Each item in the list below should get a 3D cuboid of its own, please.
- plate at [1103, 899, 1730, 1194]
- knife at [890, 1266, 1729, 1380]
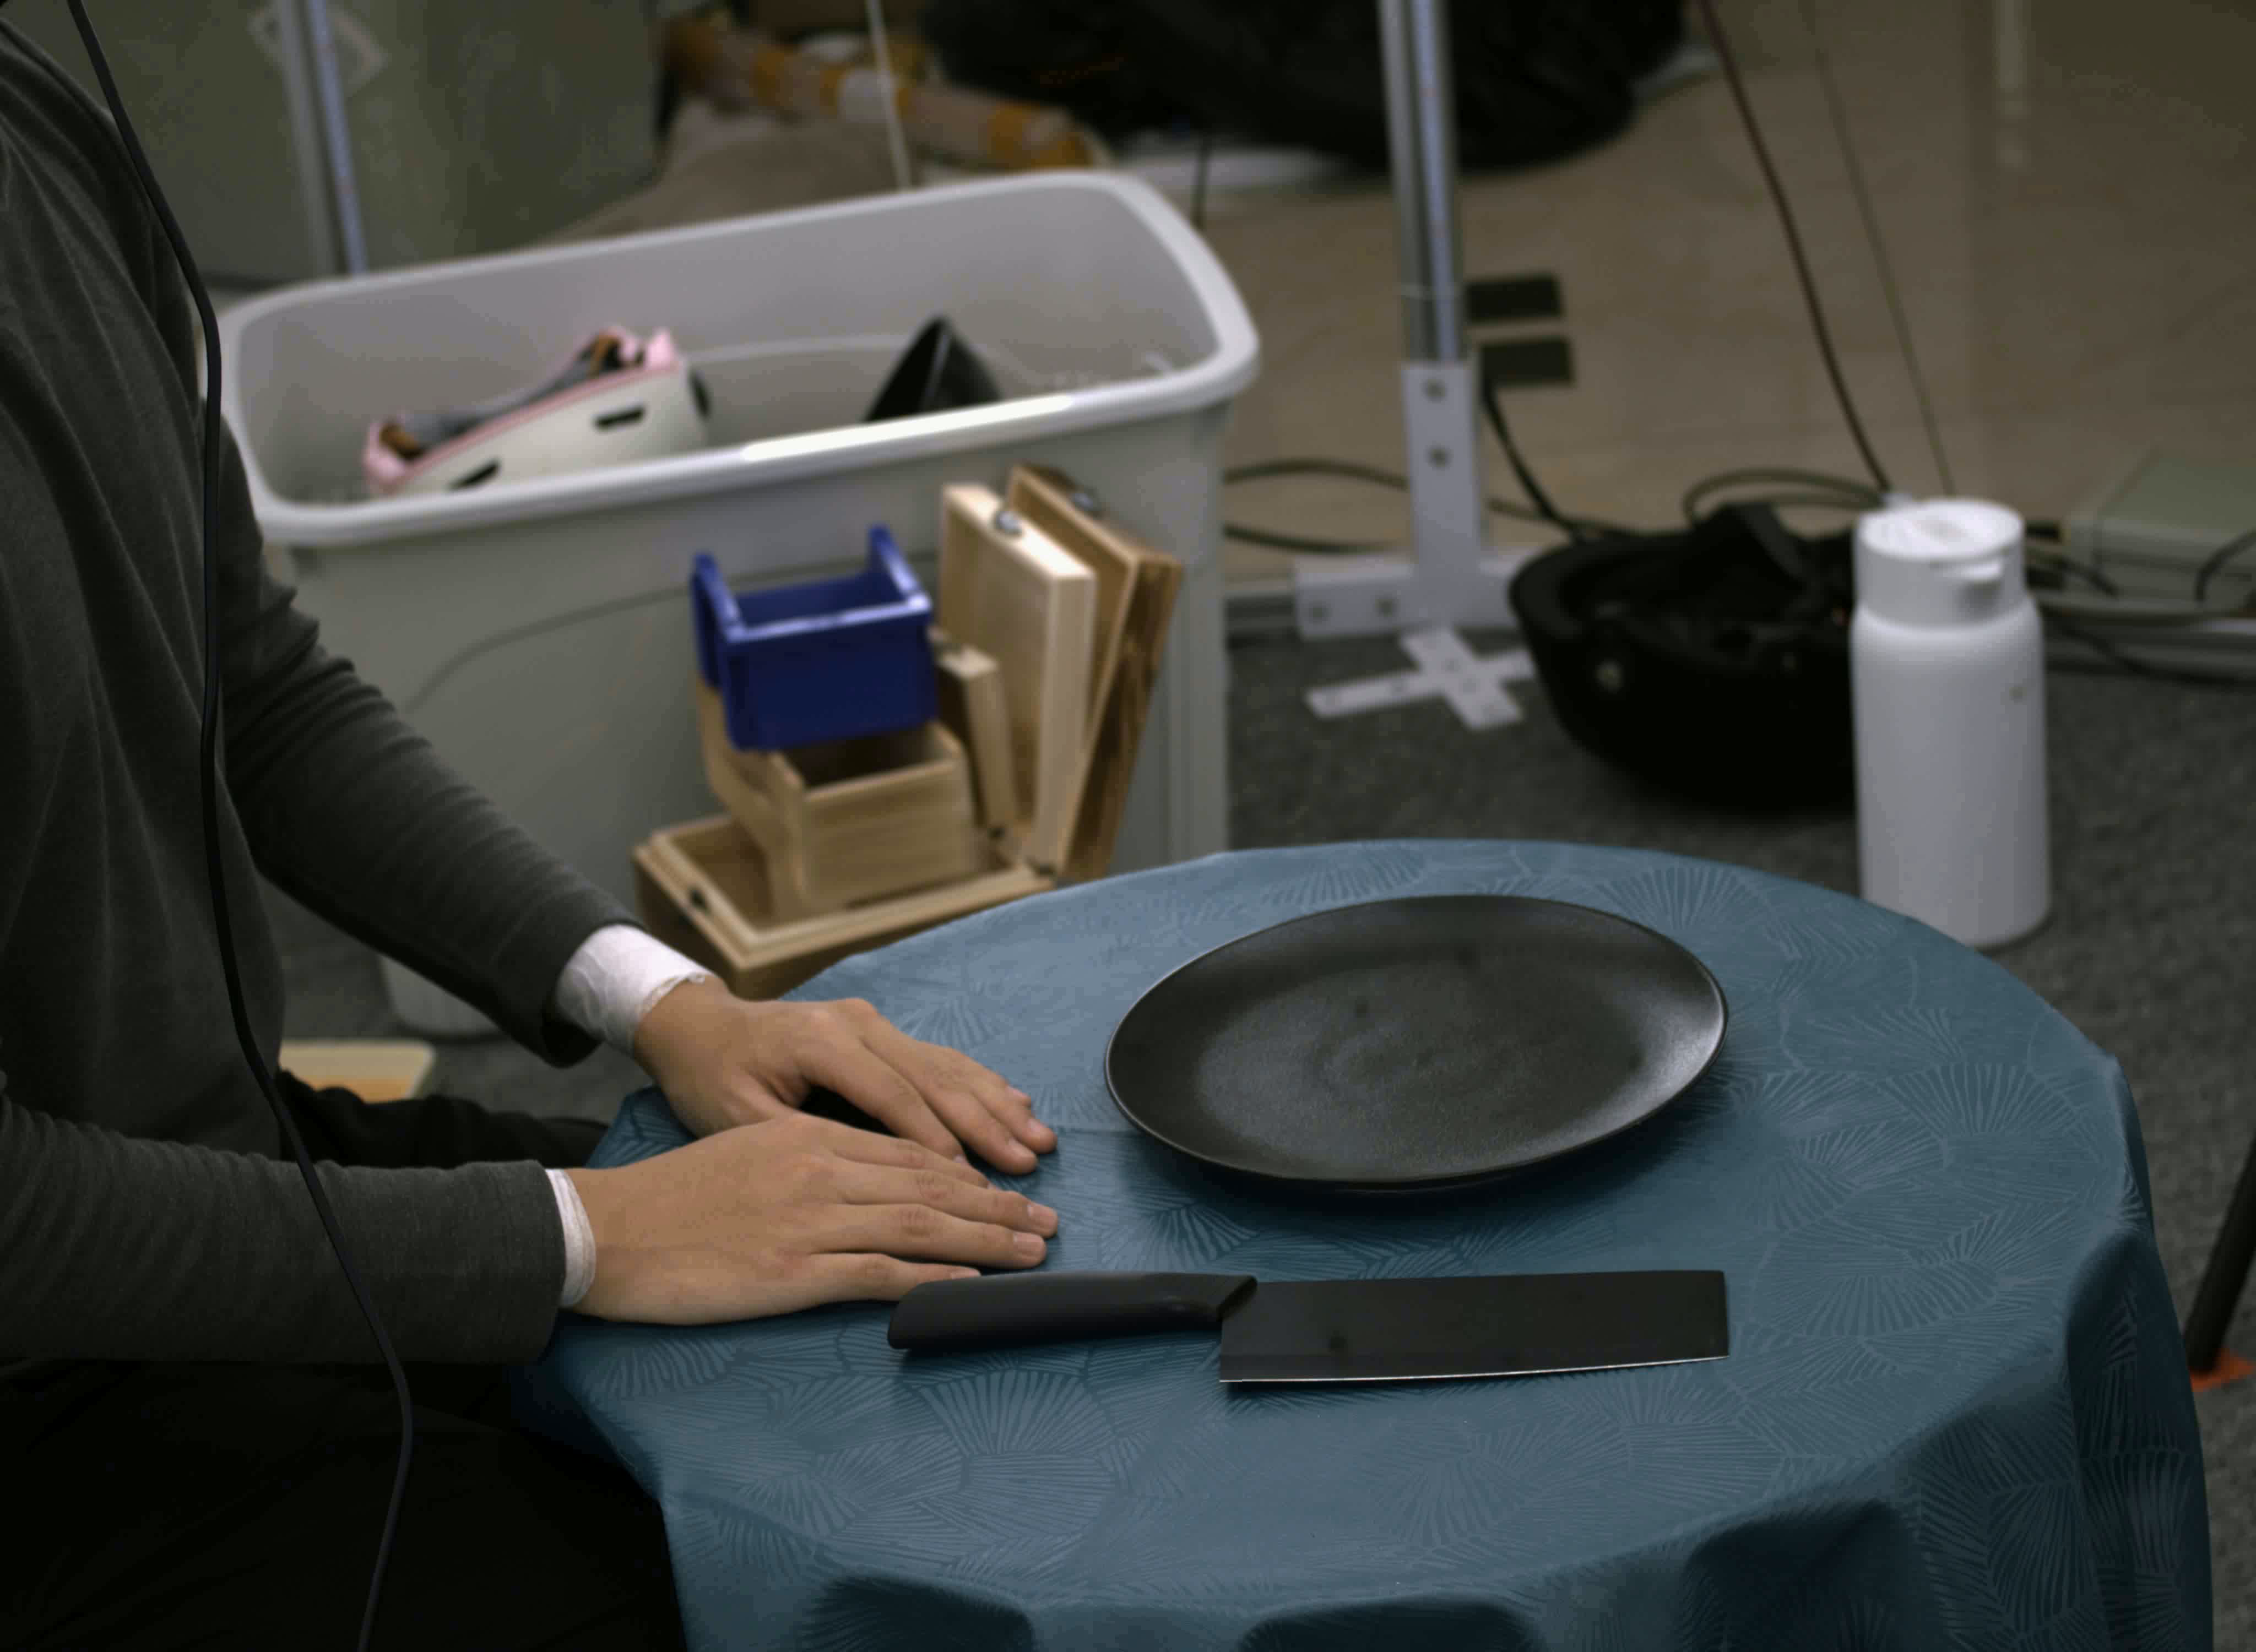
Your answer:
[{"bbox_3d":[0.112,0.090,2.203,0.244,0.024,0.241,-5,25,3],"label":"plate"},{"bbox_3d":[0.065,0.178,2.036,0.302,0.021,0.080,-1,26,9],"label":"knife"}]
